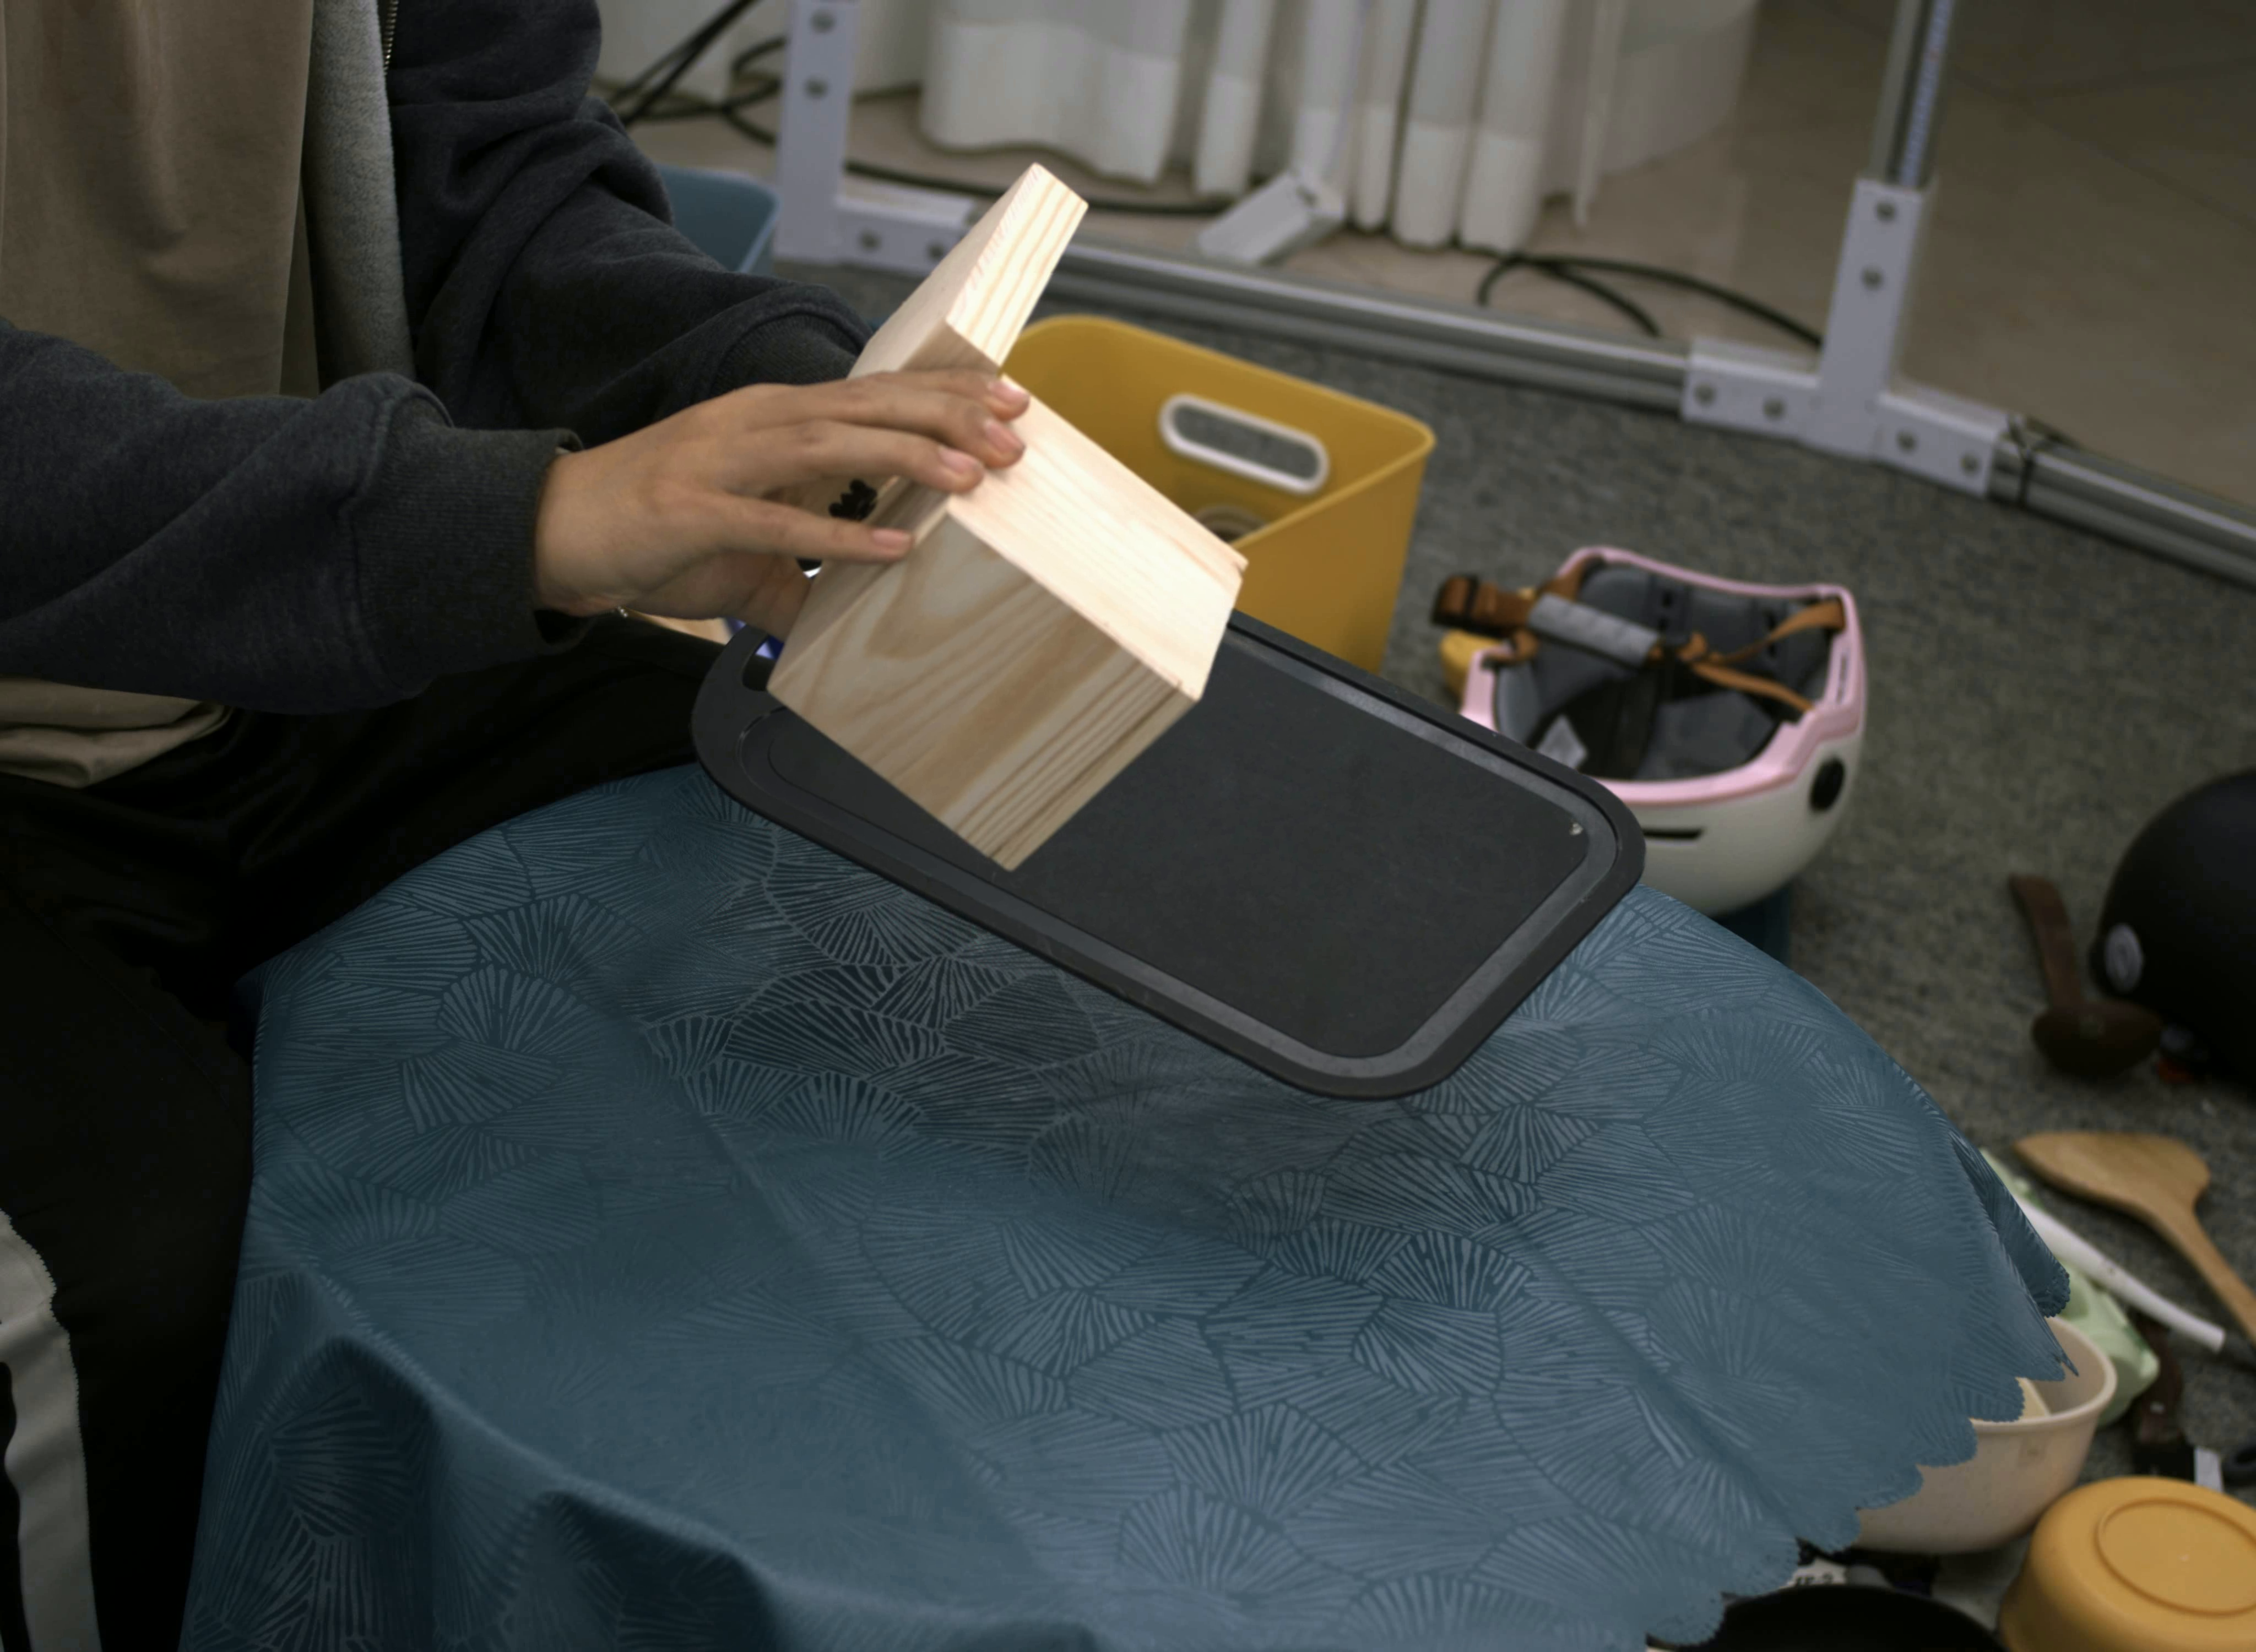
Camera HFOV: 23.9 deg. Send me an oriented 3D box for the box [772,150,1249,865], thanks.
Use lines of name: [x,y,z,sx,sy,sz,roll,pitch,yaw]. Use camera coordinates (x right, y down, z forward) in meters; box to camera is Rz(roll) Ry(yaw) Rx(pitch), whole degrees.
box: [-0.033,-0.104,1.727,0.133,0.102,0.185,36,40,-14]

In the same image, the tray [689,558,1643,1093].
tray: [0.006,-0.017,1.865,0.327,0.010,0.211,27,42,22]
